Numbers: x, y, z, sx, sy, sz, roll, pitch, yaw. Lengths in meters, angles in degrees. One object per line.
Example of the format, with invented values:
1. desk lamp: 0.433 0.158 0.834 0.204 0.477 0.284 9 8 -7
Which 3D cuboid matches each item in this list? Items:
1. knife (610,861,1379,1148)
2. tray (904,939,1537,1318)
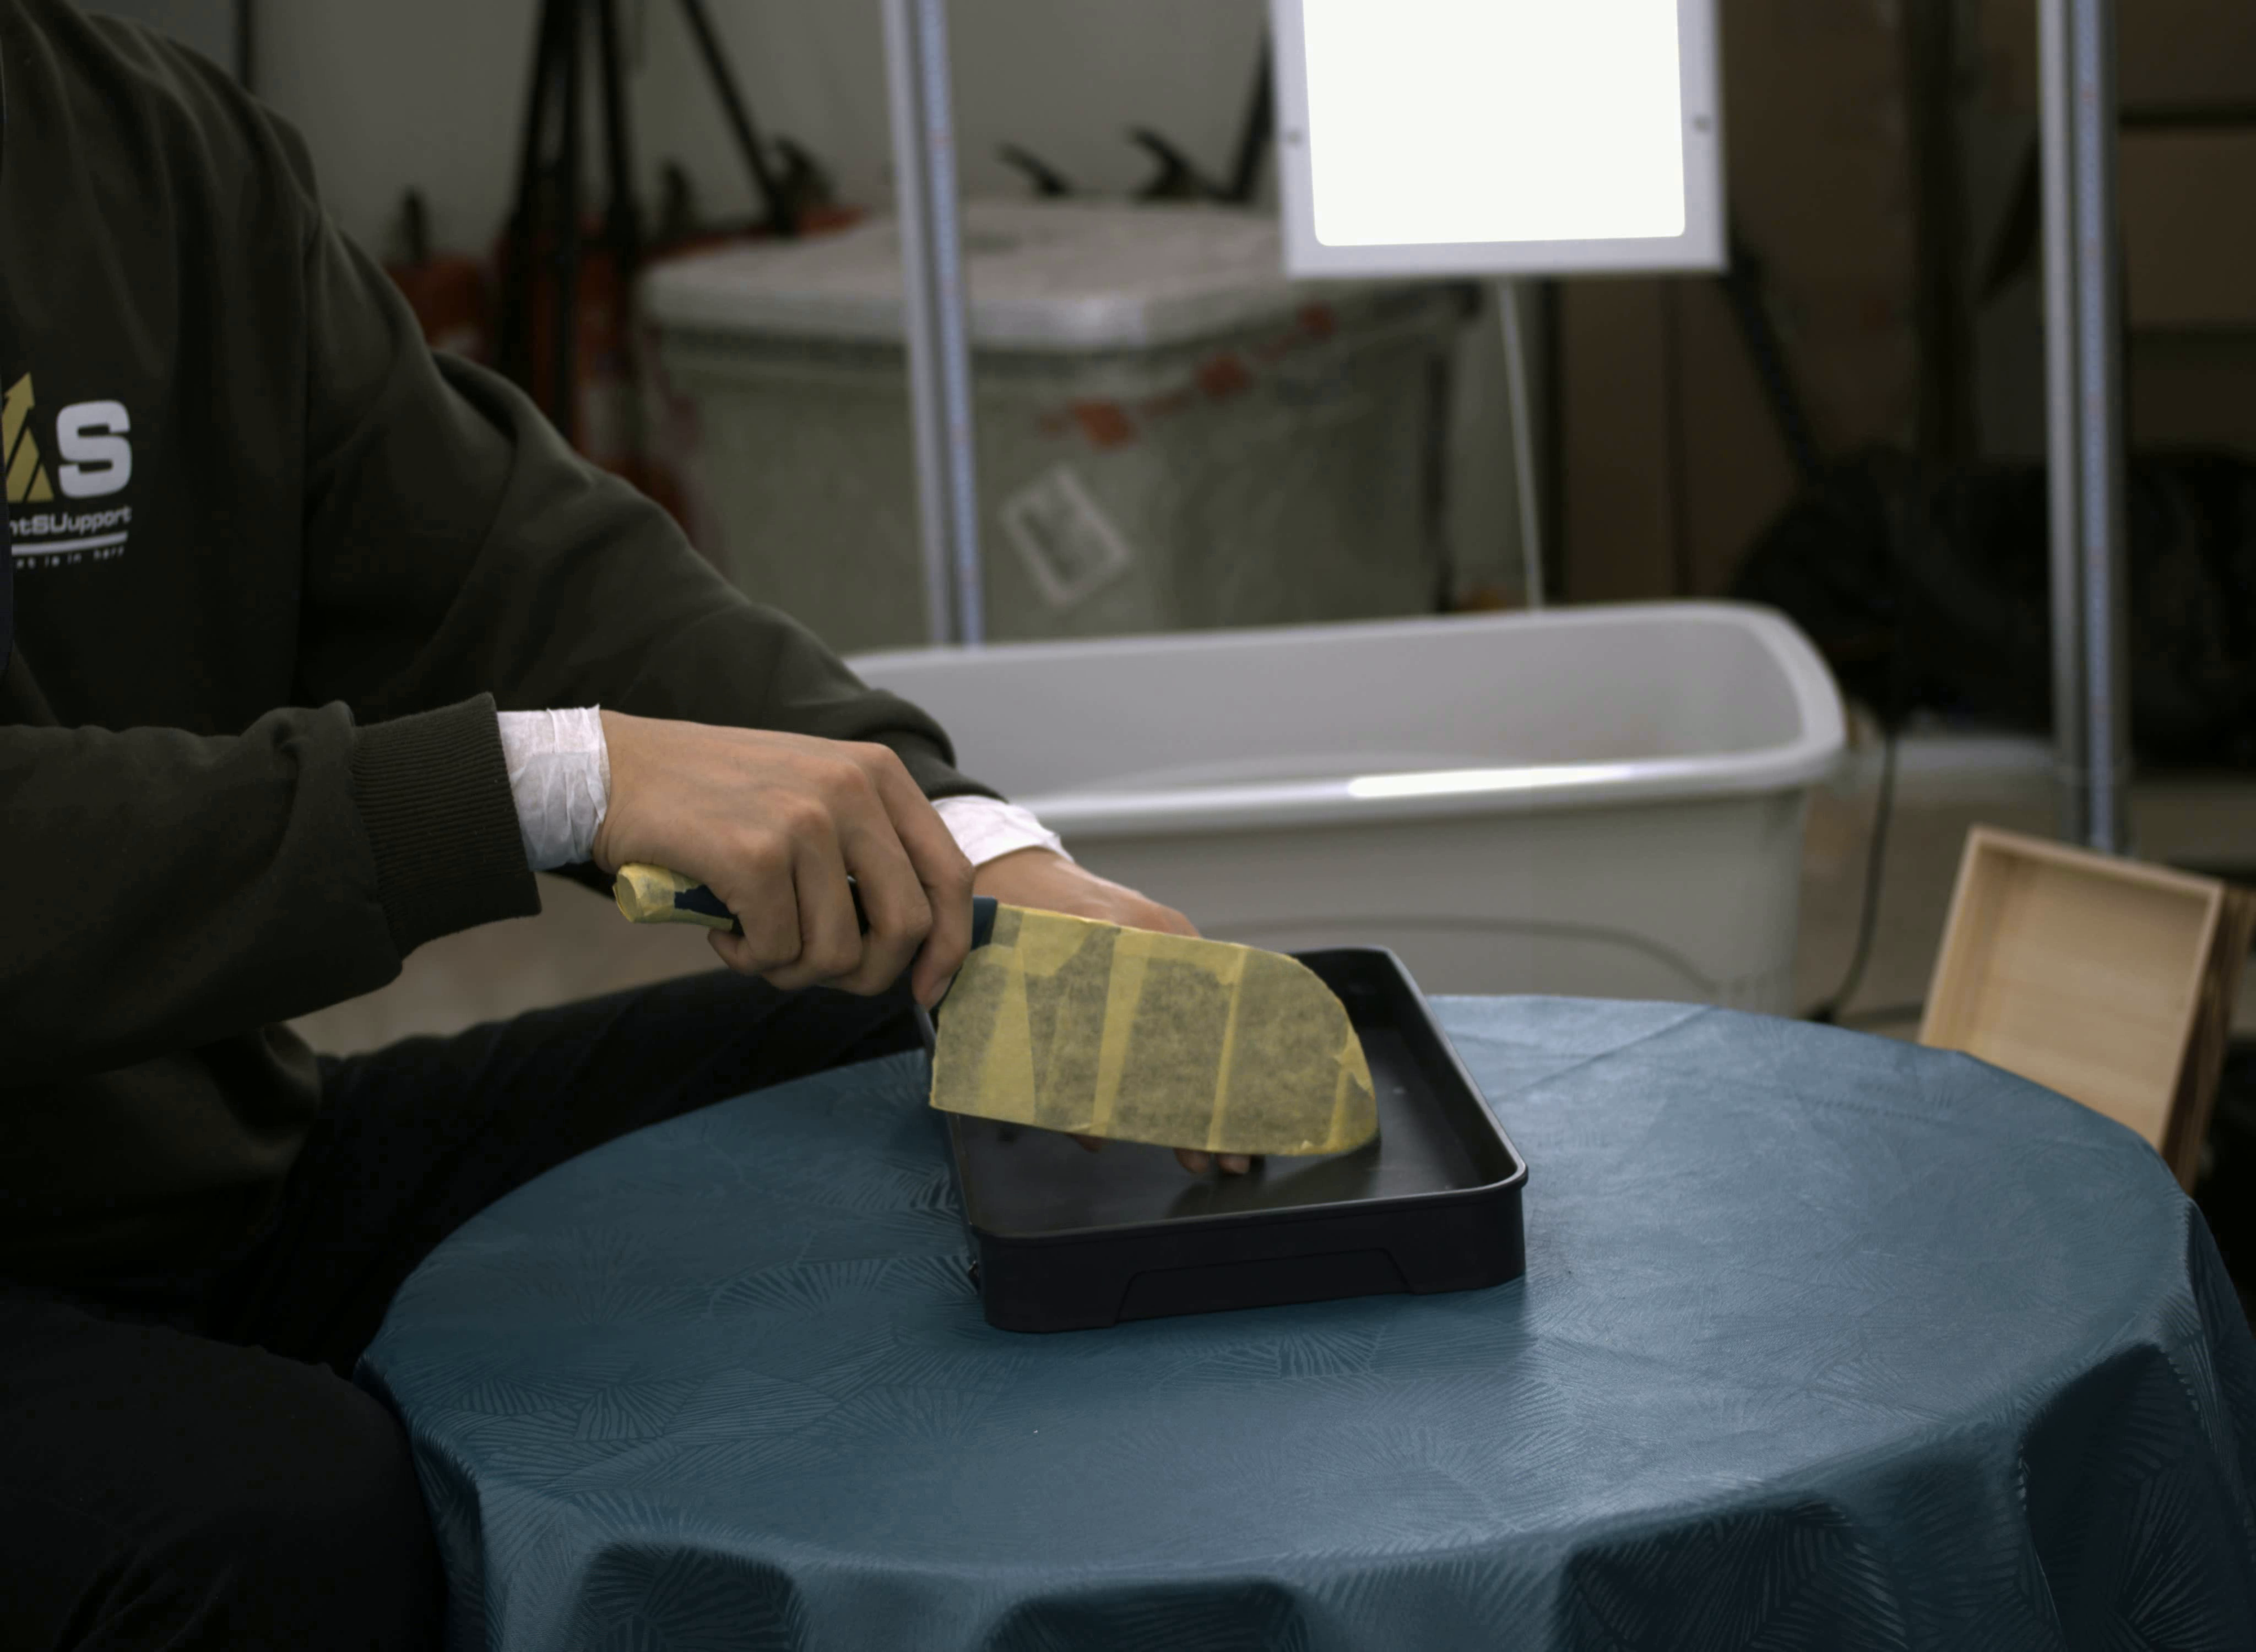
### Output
1. knife: -0.042 0.061 1.863 0.284 0.081 0.027 13 -7 -20
2. tray: 0.026 0.101 1.917 0.183 0.037 0.319 -6 13 -6
